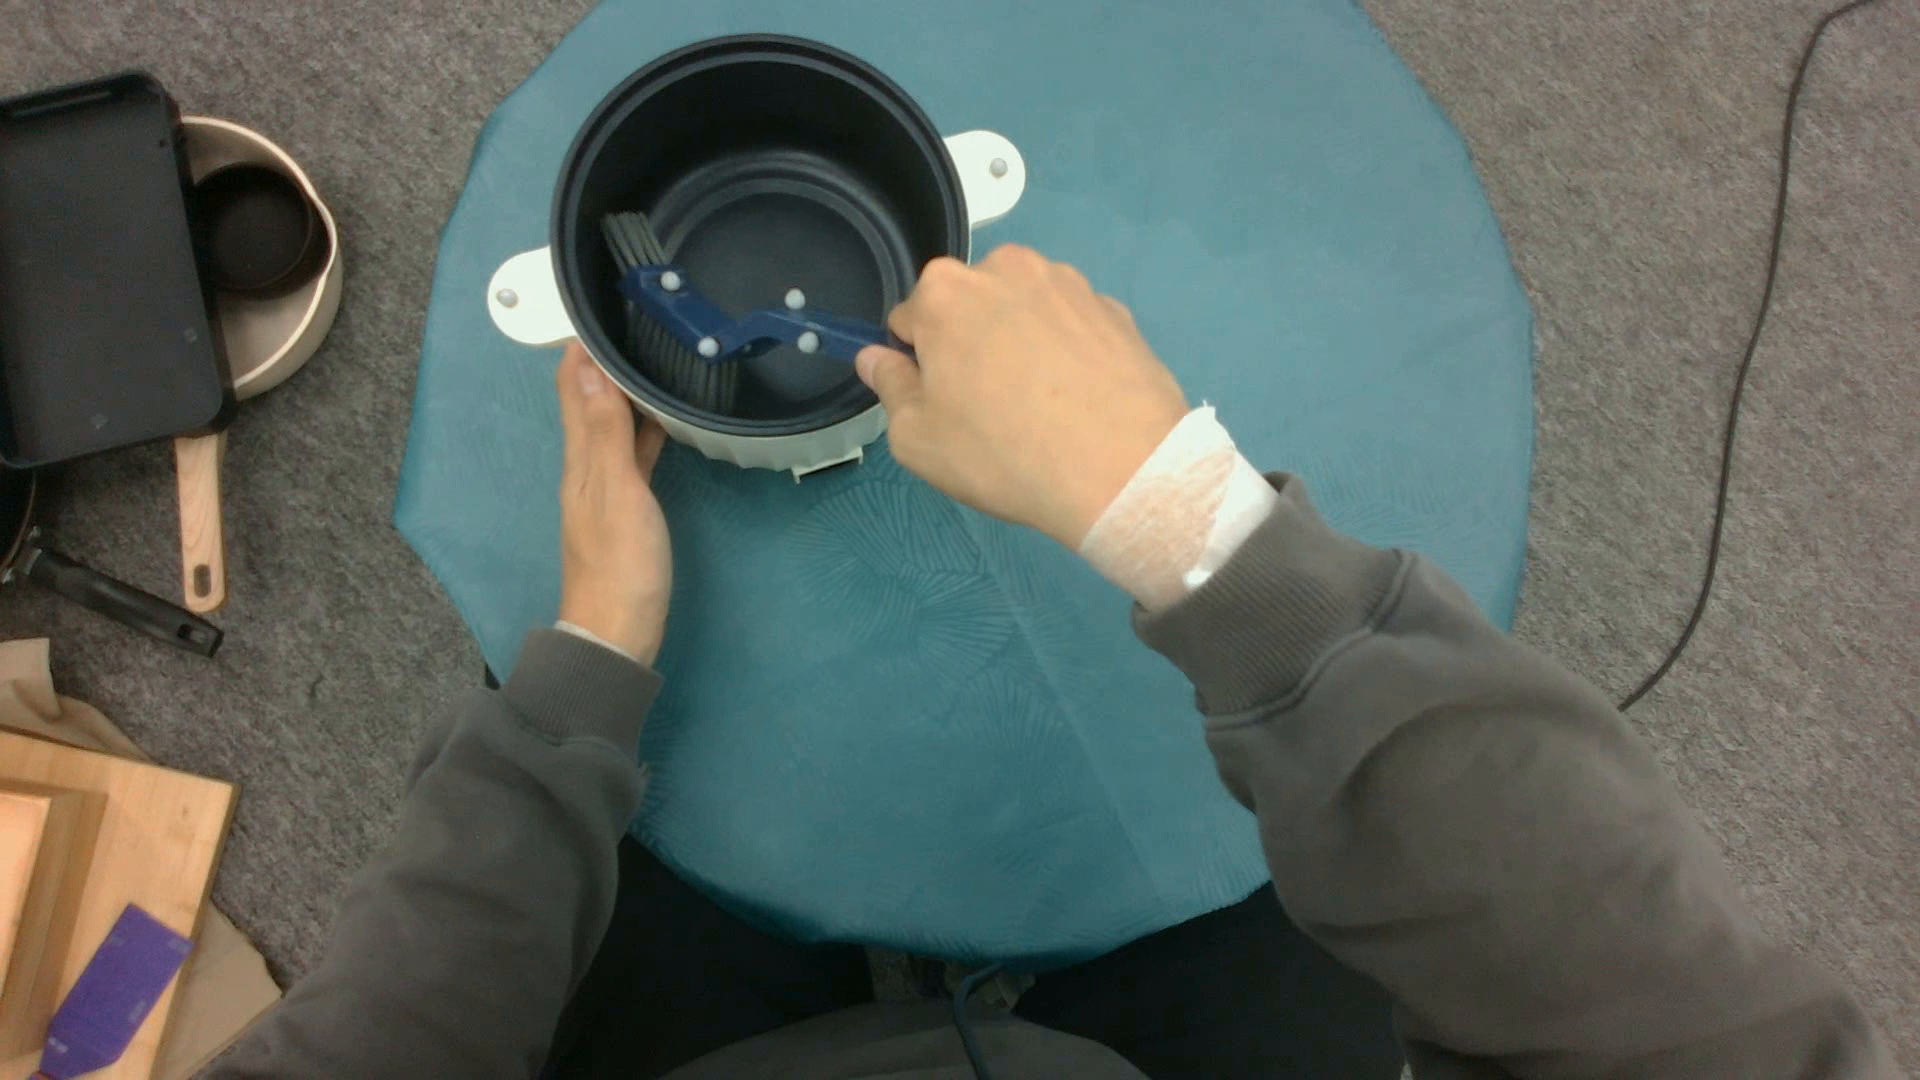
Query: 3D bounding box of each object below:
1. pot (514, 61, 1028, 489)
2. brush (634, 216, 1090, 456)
[{"bbox_3d":[-0.091,-0.126,0.681,0.240,0.142,0.190,-18,87,-8],"label":"pot"},{"bbox_3d":[-0.057,-0.087,0.576,0.033,0.273,0.095,-11,107,-43],"label":"brush"}]
